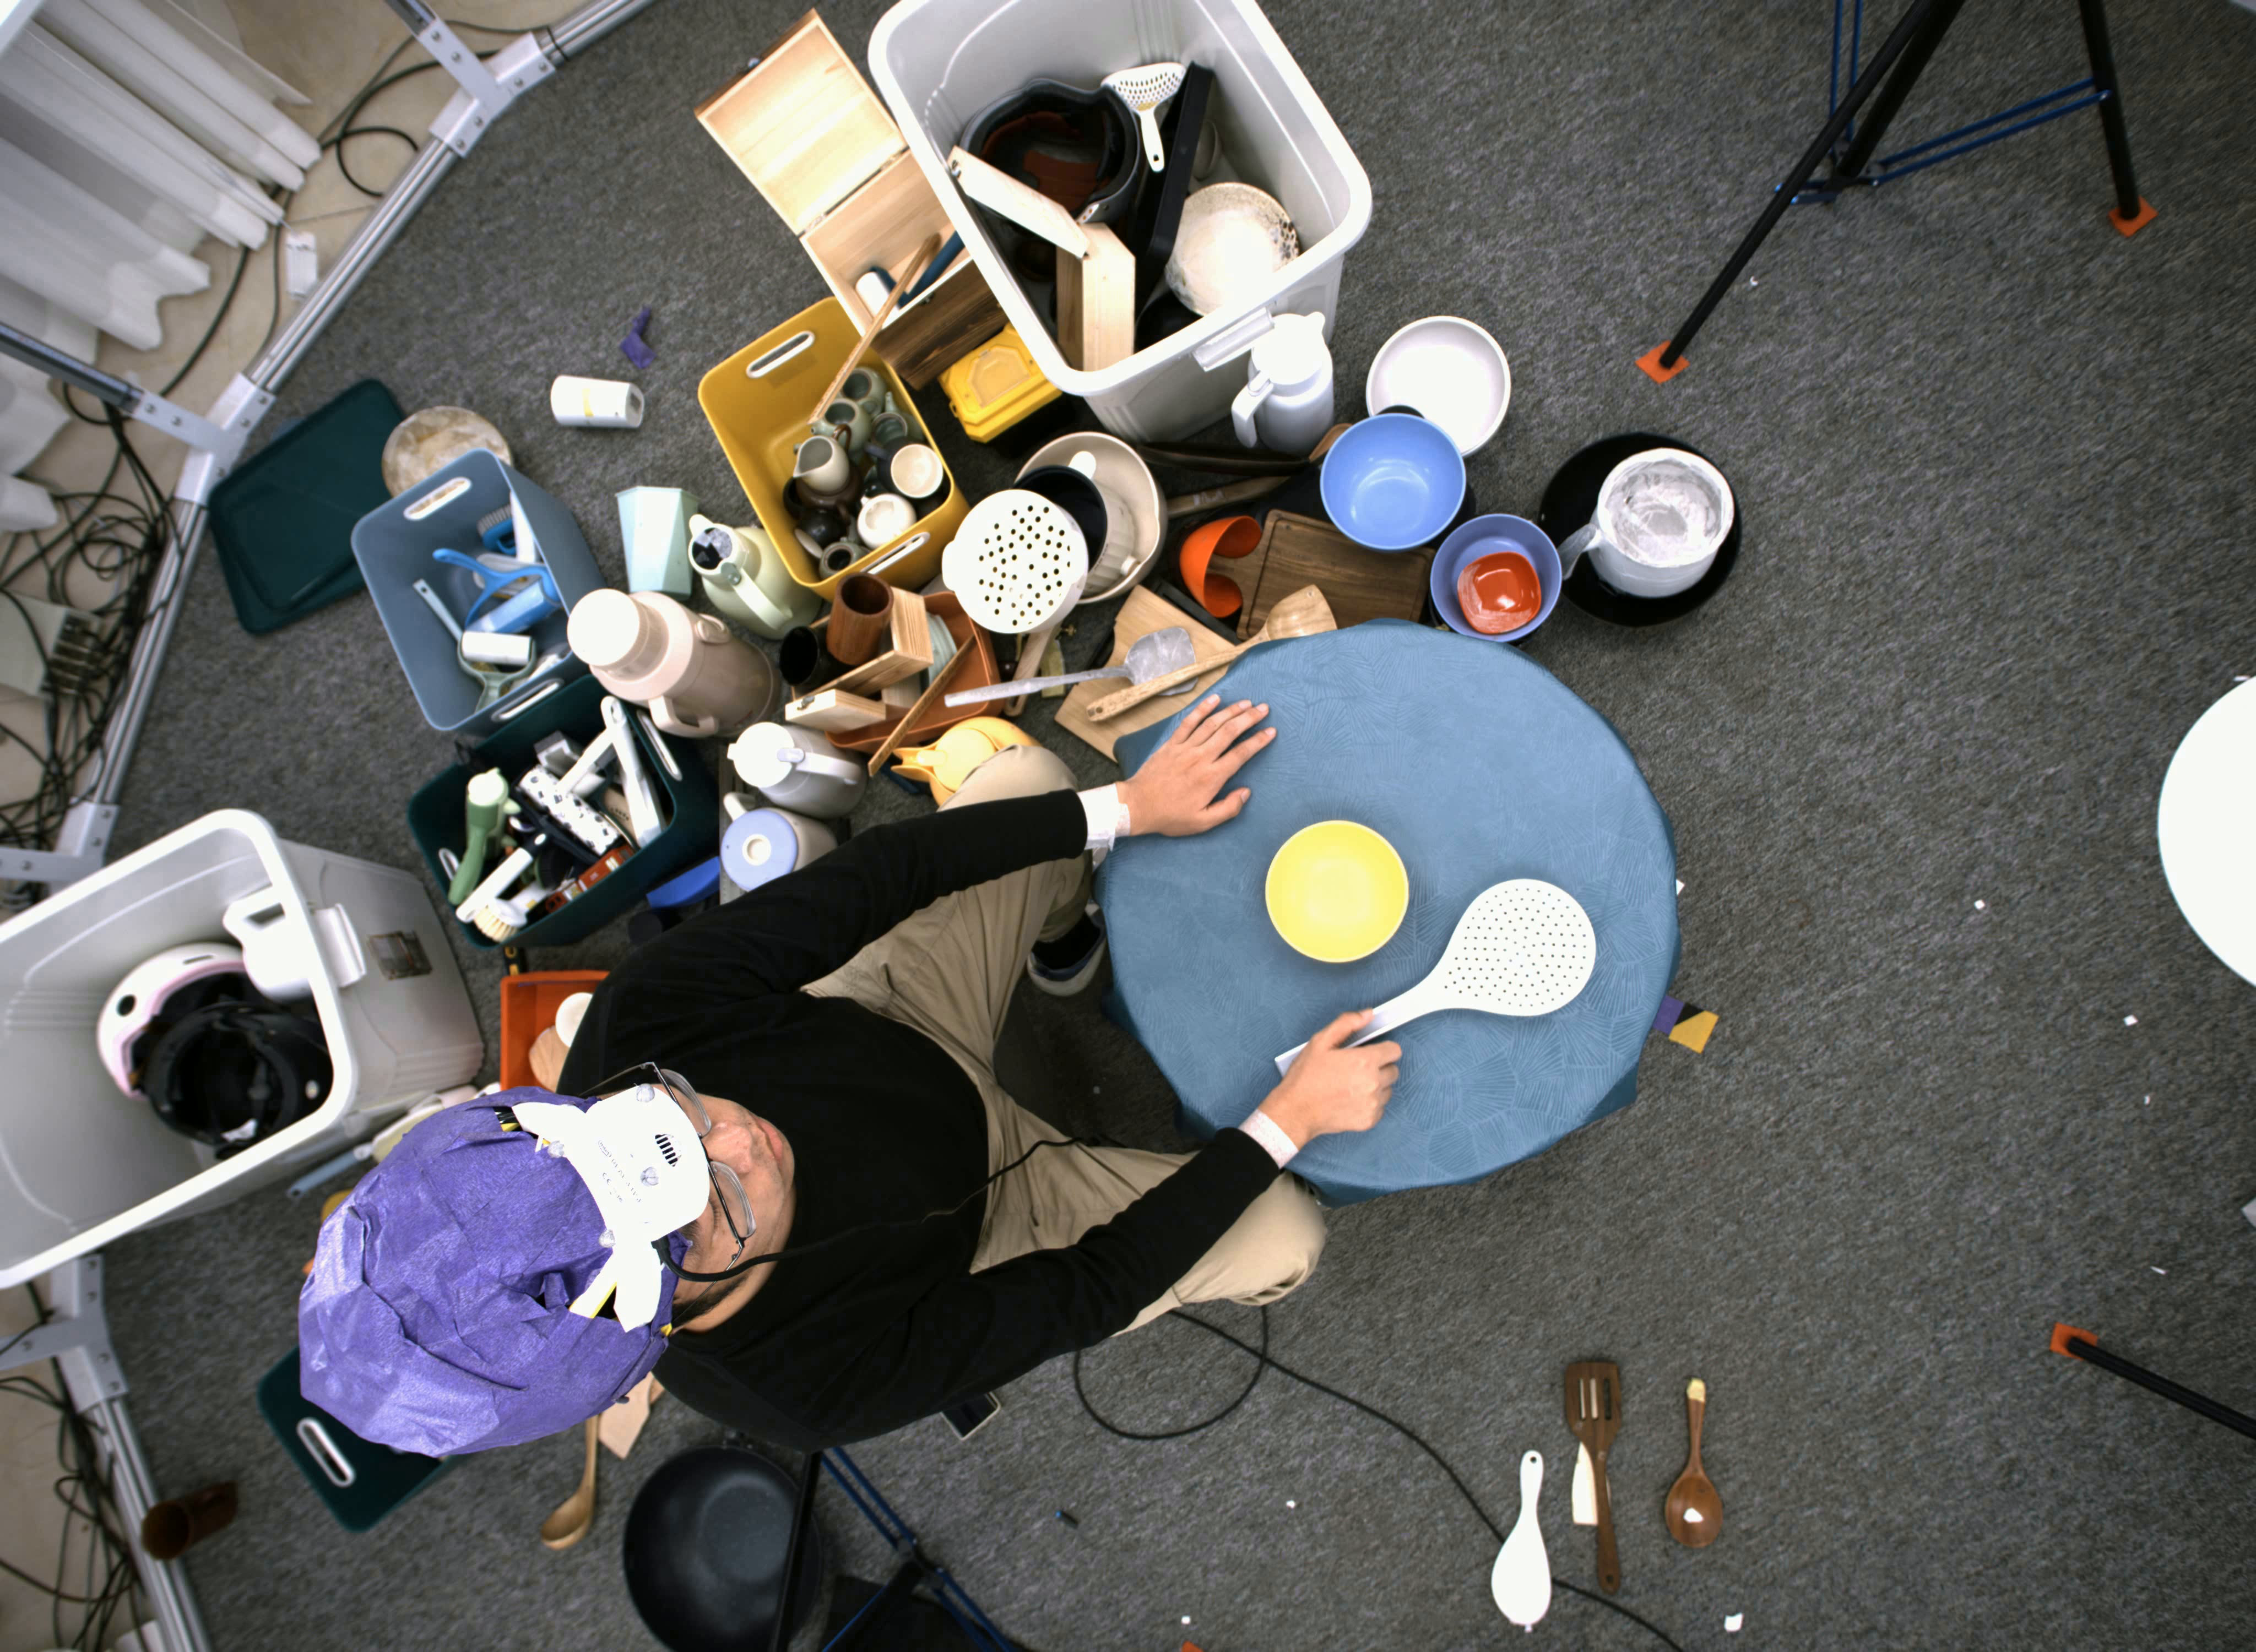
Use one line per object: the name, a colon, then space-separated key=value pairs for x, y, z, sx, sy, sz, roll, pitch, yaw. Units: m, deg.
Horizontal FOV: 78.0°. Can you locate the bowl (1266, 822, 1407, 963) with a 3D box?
bowl: x=0.217 y=0.071 z=1.442 sx=0.146 sy=0.060 sz=0.144 roll=-1 pitch=84 yaw=10

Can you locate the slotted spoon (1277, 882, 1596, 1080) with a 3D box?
slotted spoon: x=0.312 y=0.174 z=1.423 sx=0.352 sy=0.045 sz=0.135 roll=-28 pitch=84 yaw=9
